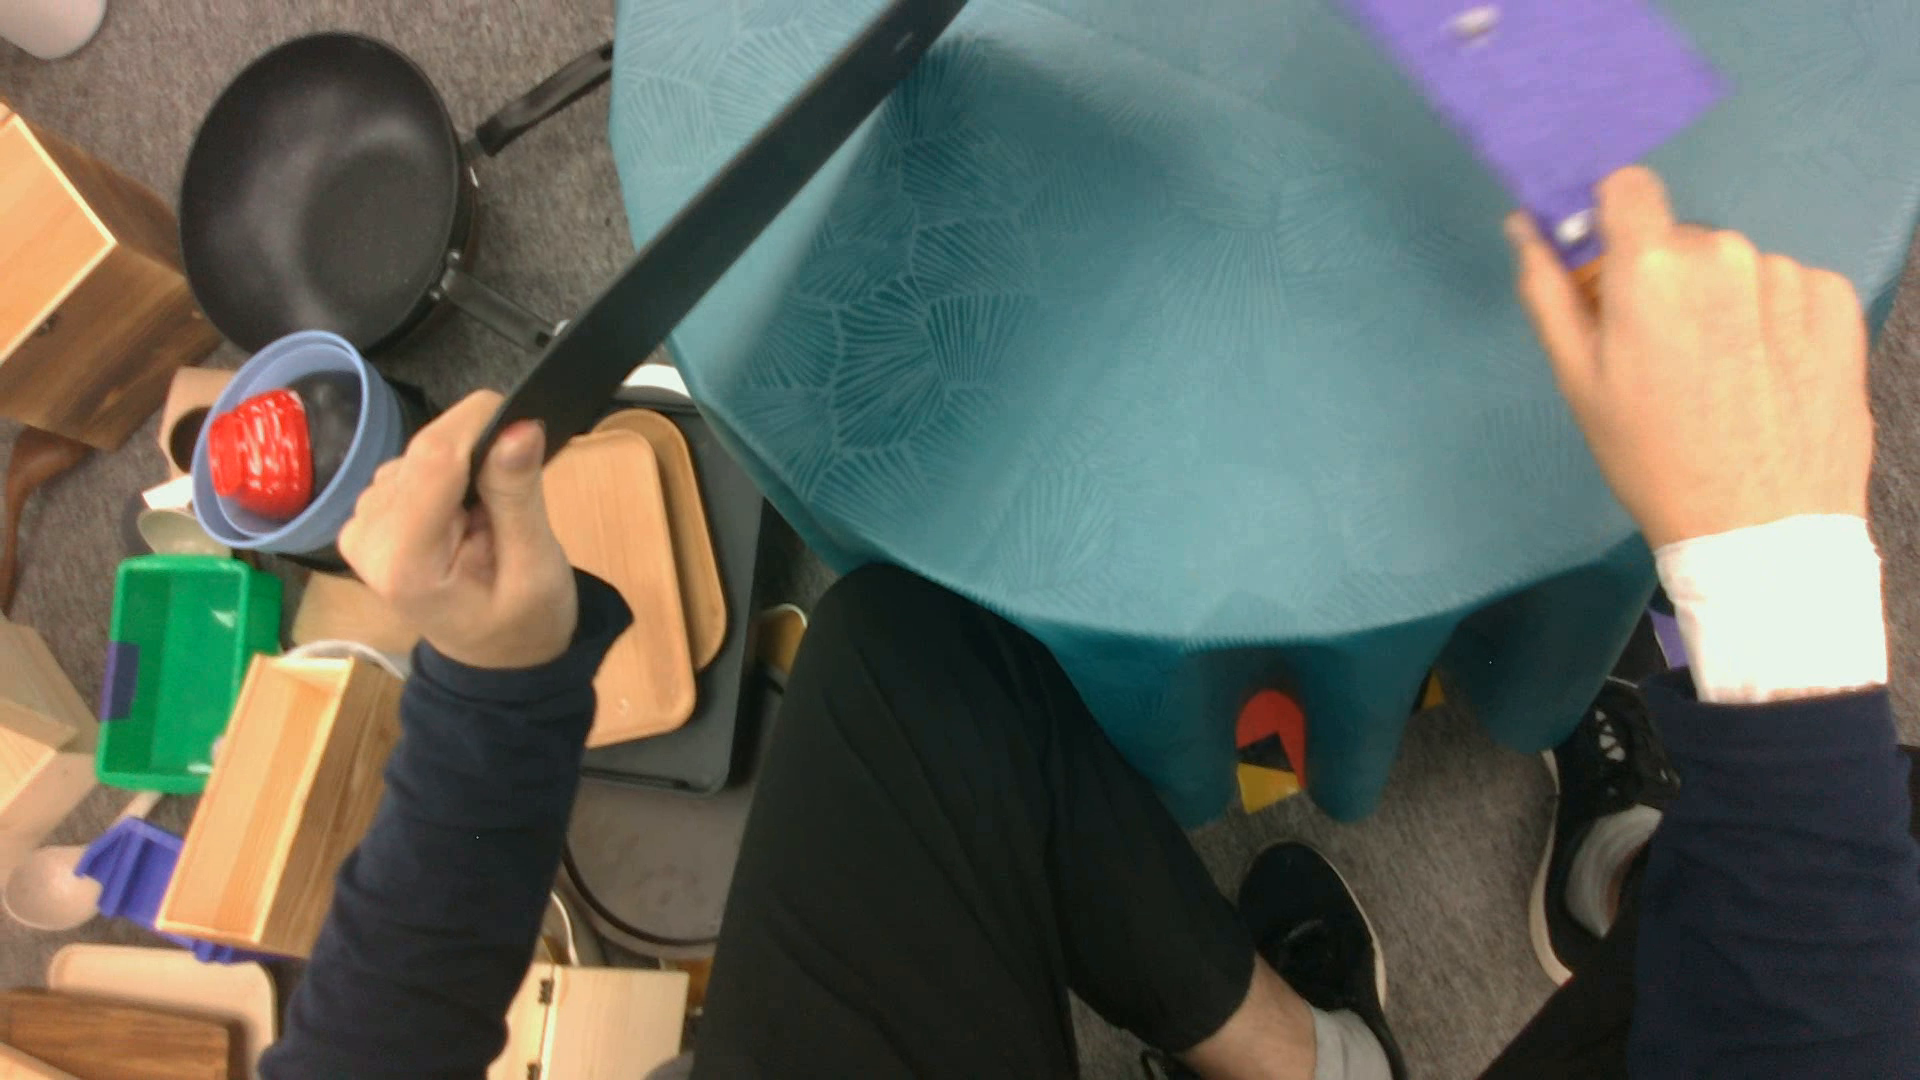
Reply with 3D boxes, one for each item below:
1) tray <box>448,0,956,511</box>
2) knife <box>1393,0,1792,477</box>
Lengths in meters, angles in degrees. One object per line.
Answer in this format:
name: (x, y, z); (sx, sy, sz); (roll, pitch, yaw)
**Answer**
tray: (-0.080, -0.137, 0.522); (0.010, 0.210, 0.326); (41, 75, -9)
knife: (0.204, -0.175, 0.471); (0.104, 0.032, 0.315); (-32, 86, -8)
